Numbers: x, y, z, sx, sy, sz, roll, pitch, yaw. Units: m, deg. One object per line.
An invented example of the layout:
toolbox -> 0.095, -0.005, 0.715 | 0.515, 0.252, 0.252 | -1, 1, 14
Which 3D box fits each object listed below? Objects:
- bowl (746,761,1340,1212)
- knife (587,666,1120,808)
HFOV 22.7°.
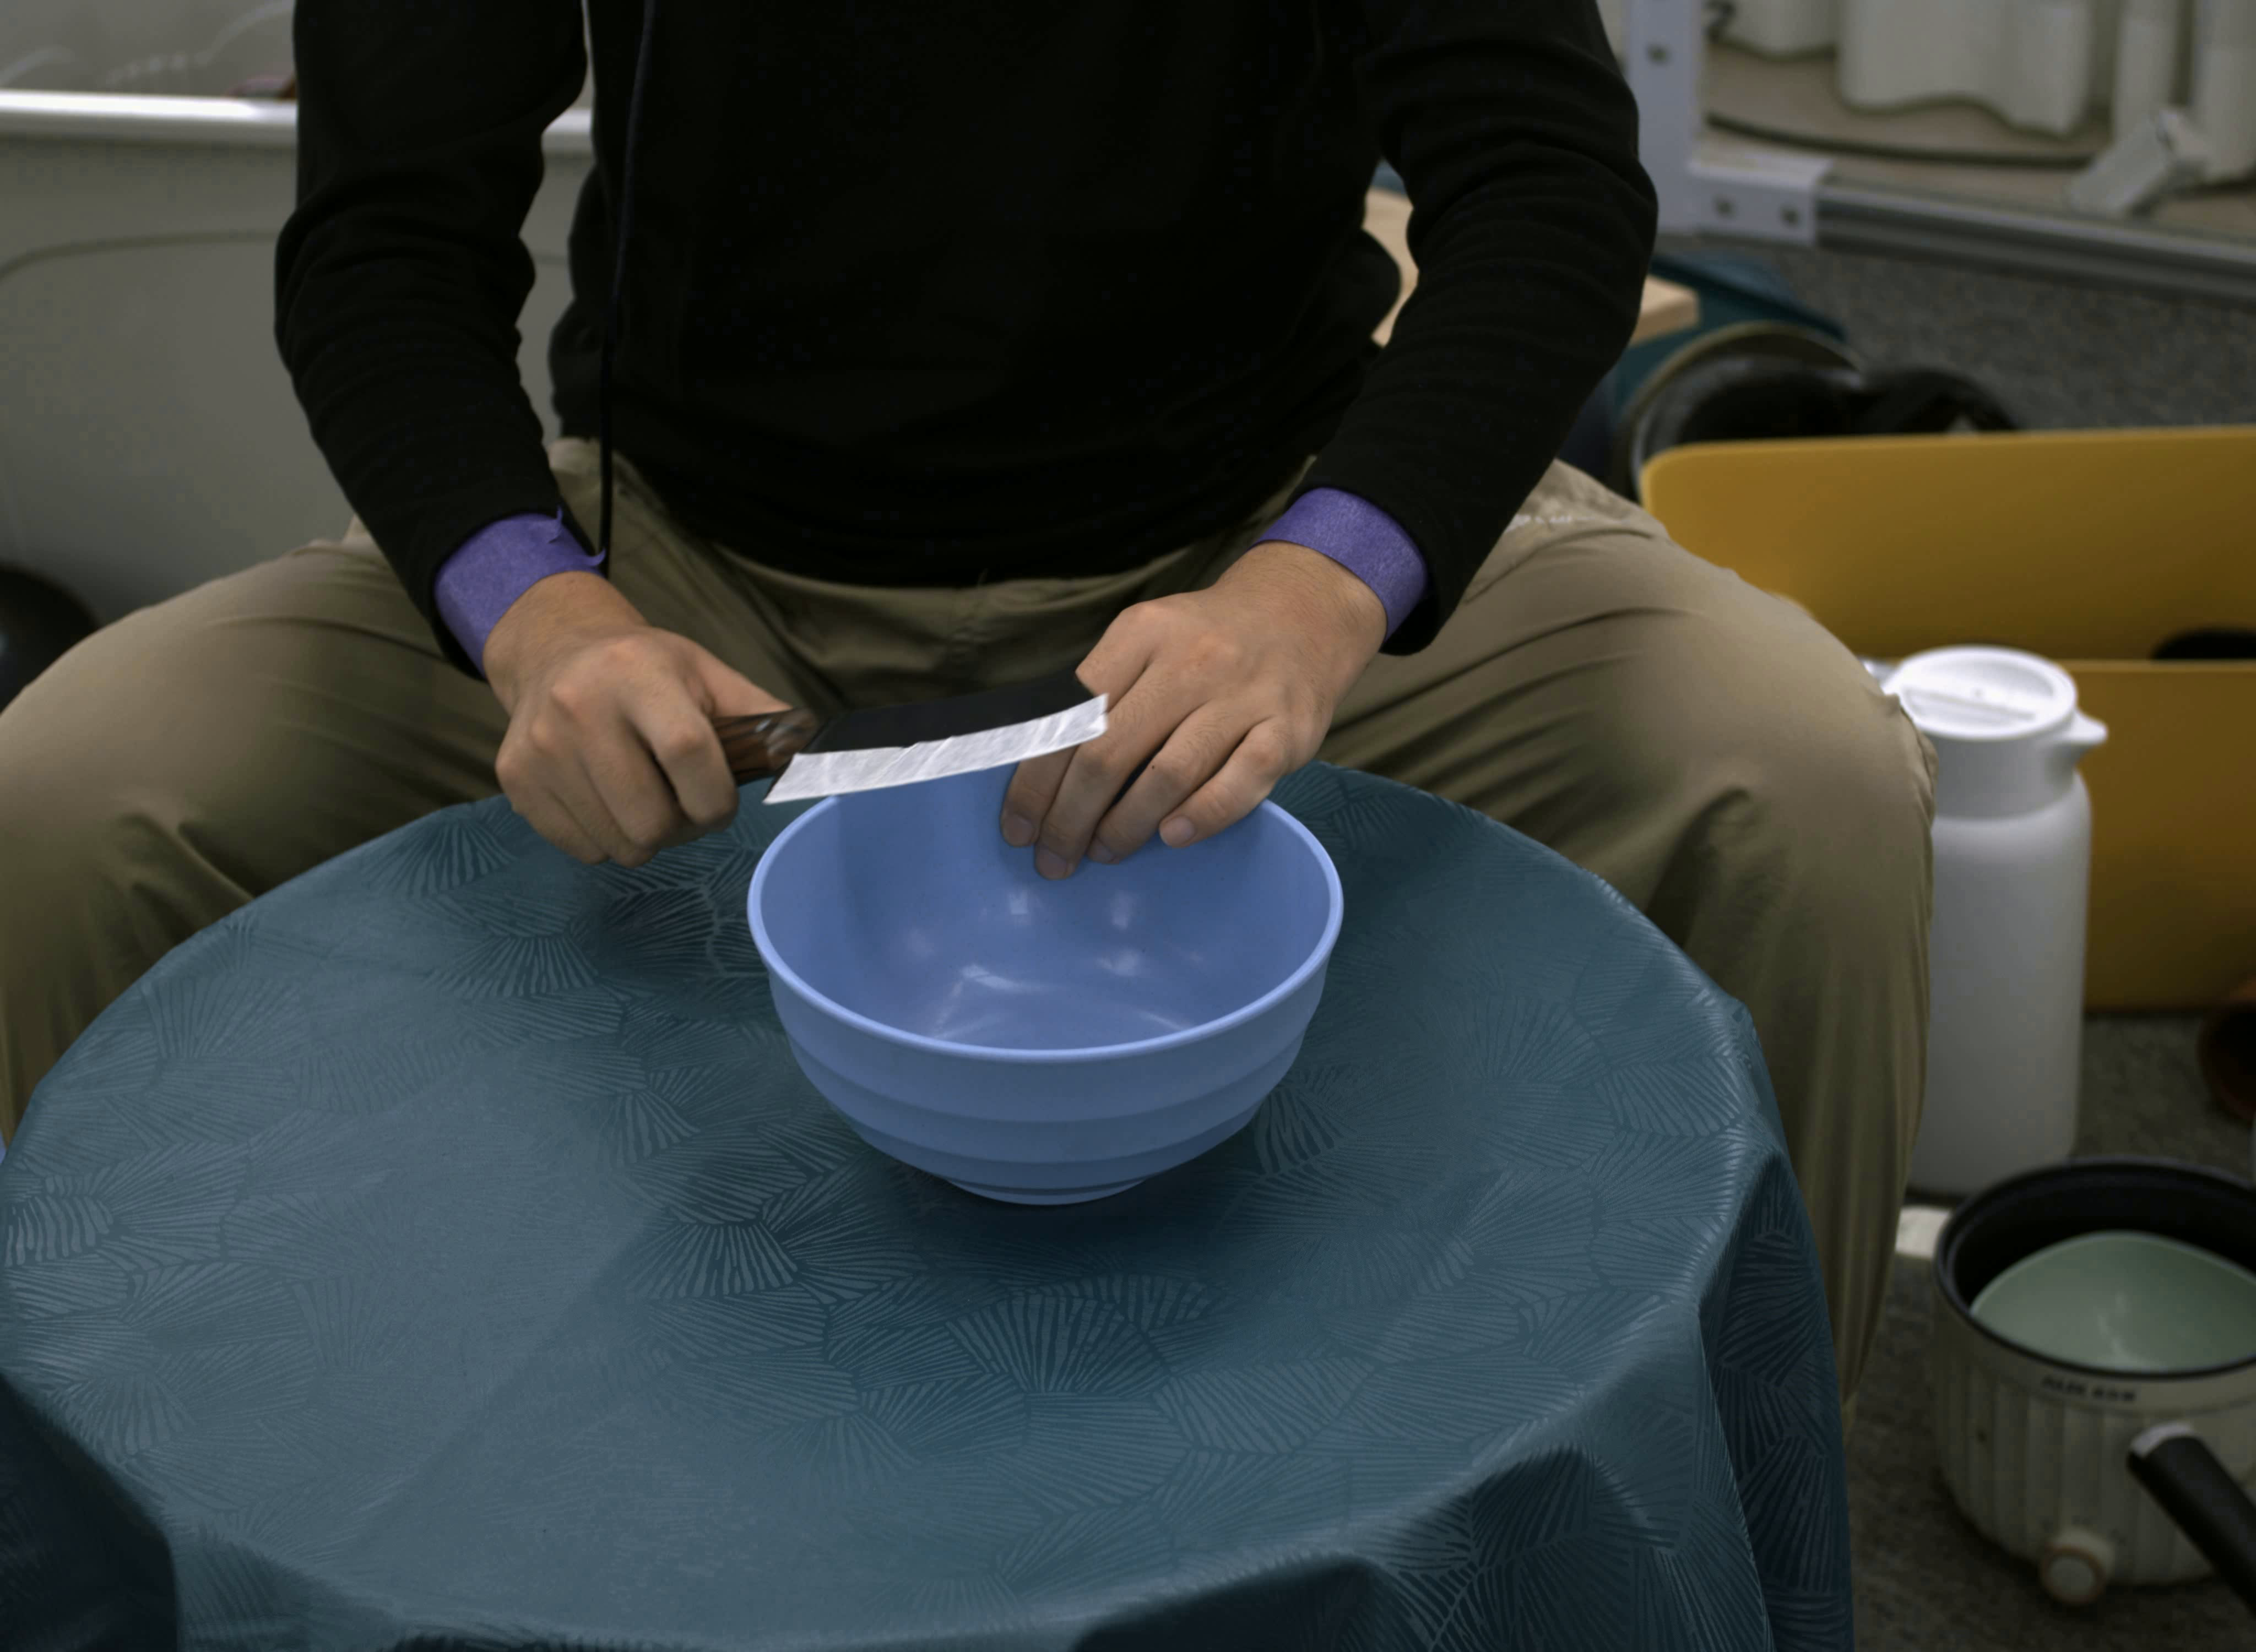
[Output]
bowl -> -0.028, 0.064, 1.869 | 0.195, 0.094, 0.199 | 1, 28, 0
knife -> -0.097, -0.028, 1.928 | 0.286, 0.020, 0.051 | -5, 41, 49
